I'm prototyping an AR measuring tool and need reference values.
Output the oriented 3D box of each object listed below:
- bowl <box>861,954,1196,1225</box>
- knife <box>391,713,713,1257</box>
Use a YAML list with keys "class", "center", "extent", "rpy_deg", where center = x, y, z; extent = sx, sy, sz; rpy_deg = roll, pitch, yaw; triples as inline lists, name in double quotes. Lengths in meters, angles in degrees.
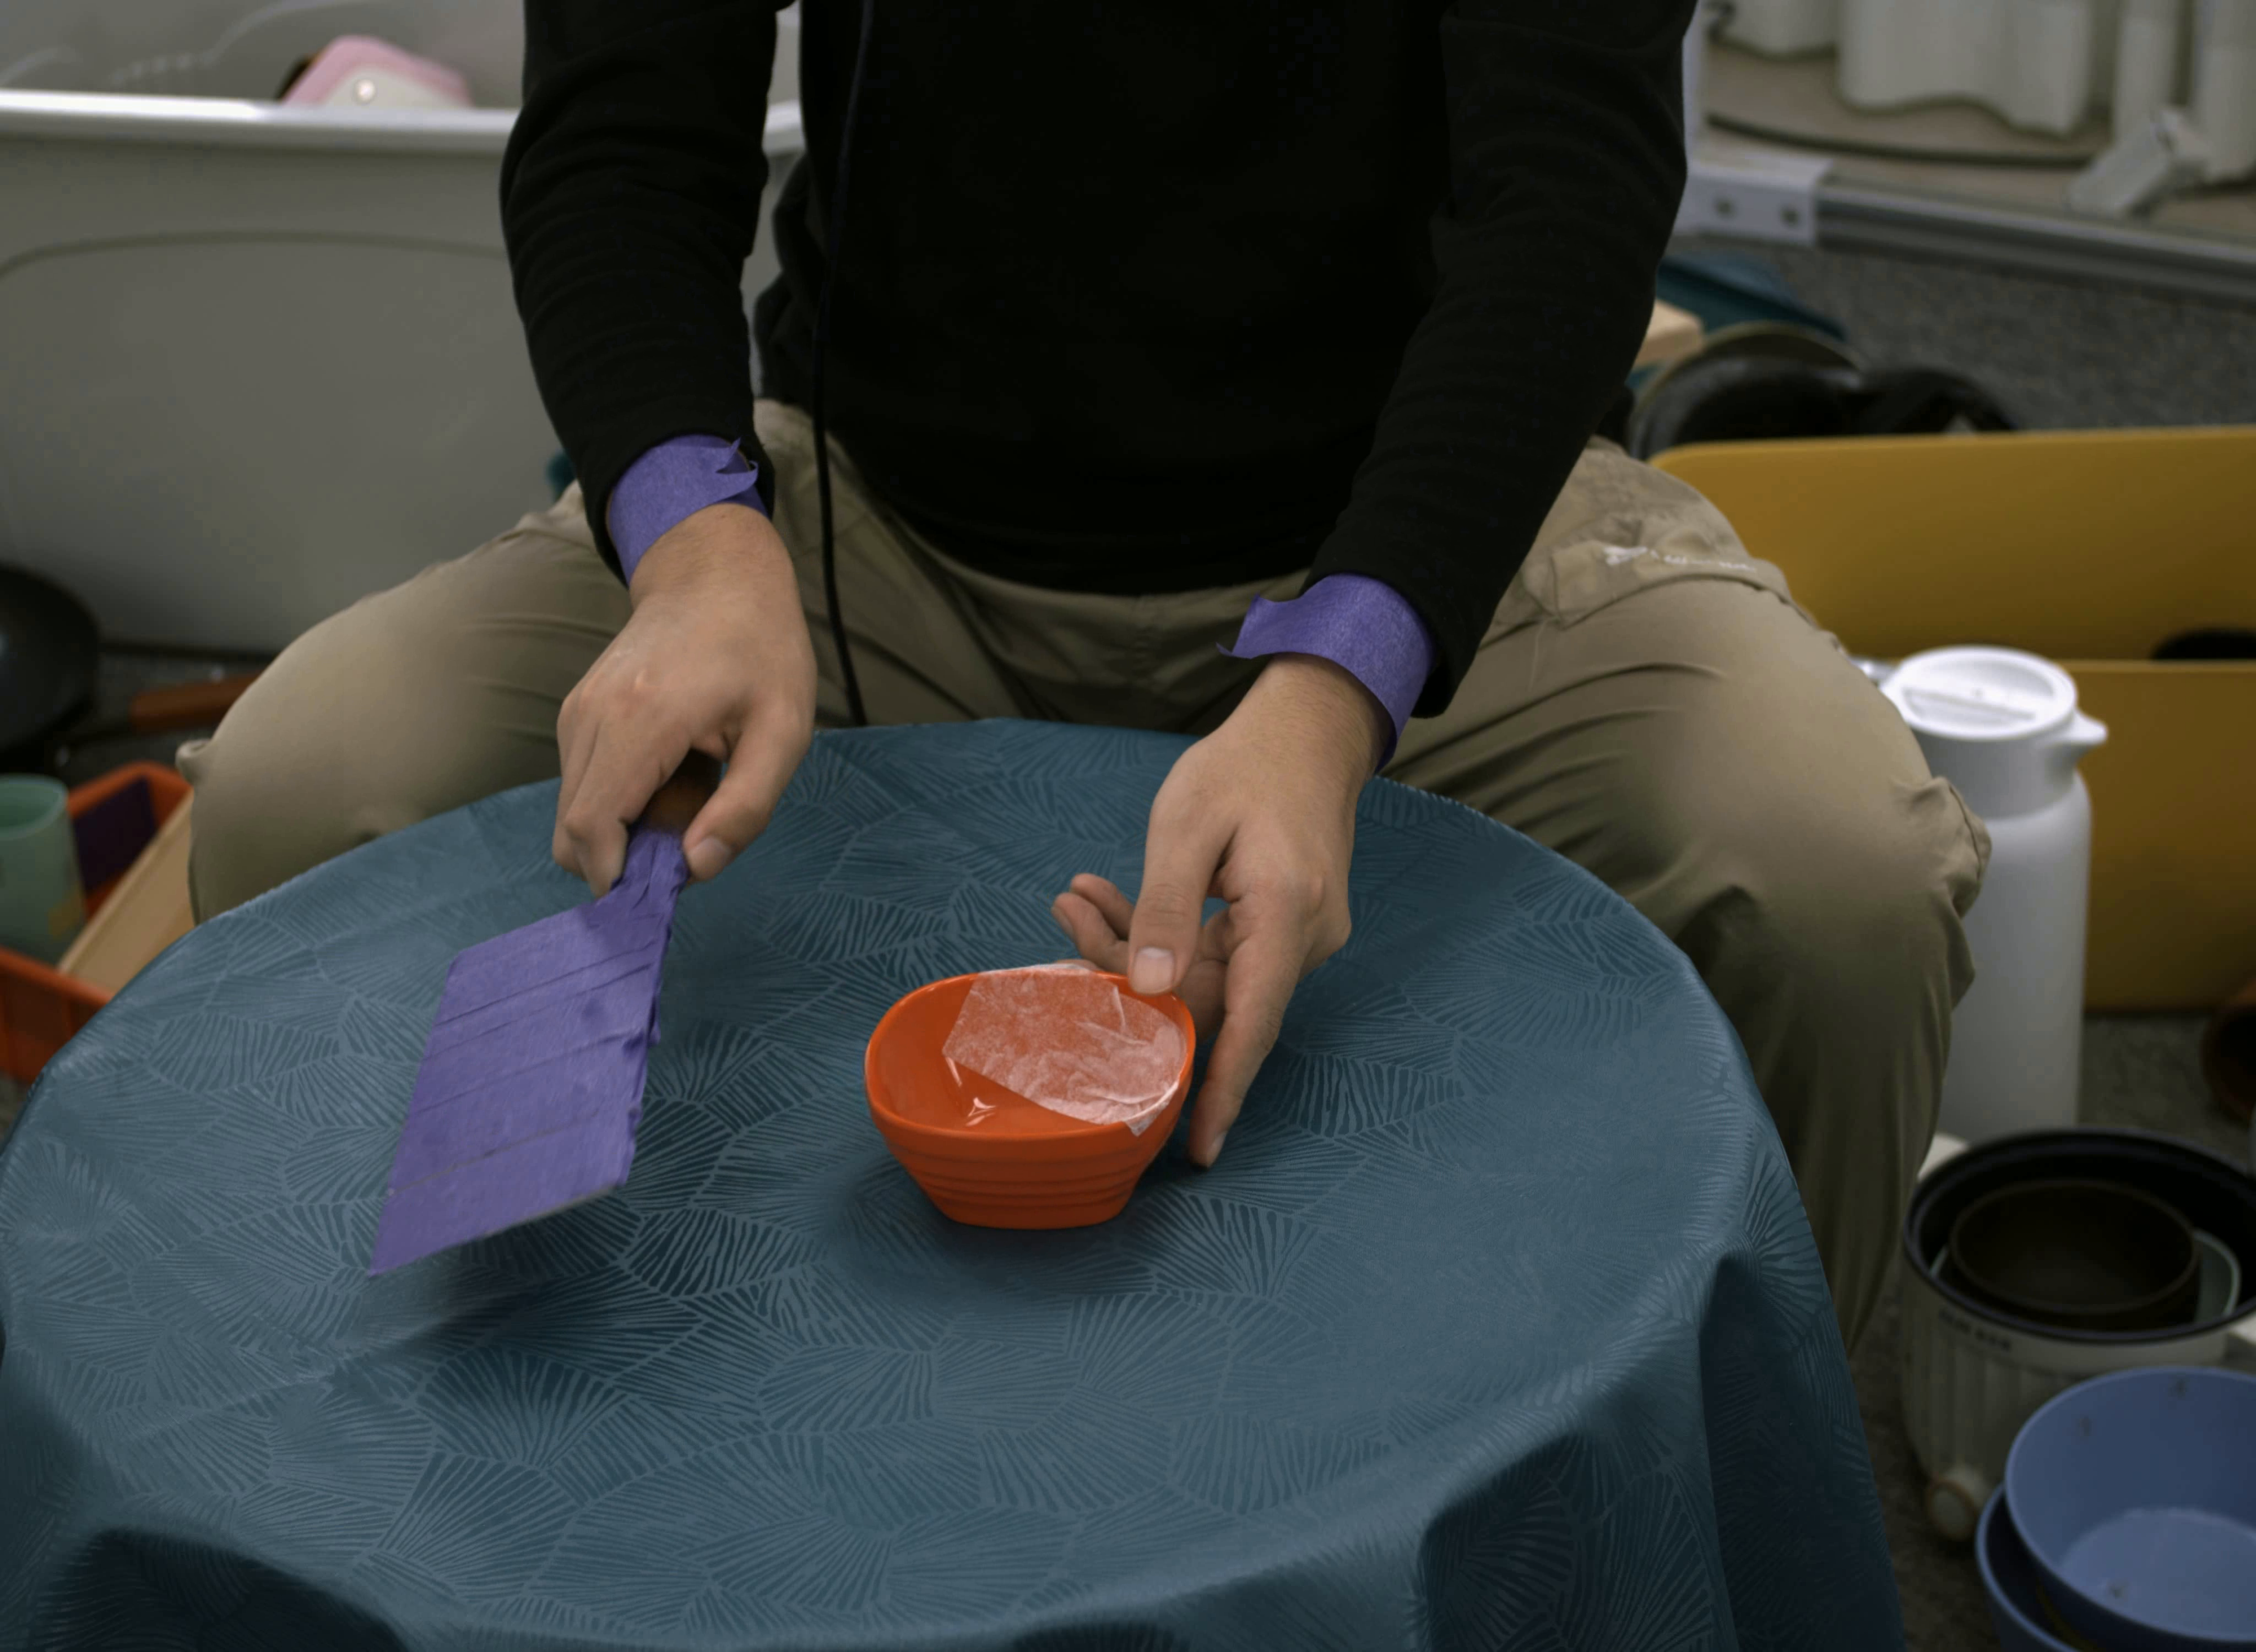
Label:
- class: "bowl"
  center: [-0.031, 0.092, 1.857]
  extent: [0.118, 0.051, 0.121]
  rpy_deg: [-4, 30, 3]
- class: "knife"
  center: [-0.194, 0.049, 1.896]
  extent: [0.103, 0.032, 0.320]
  rpy_deg: [-20, 23, 10]
